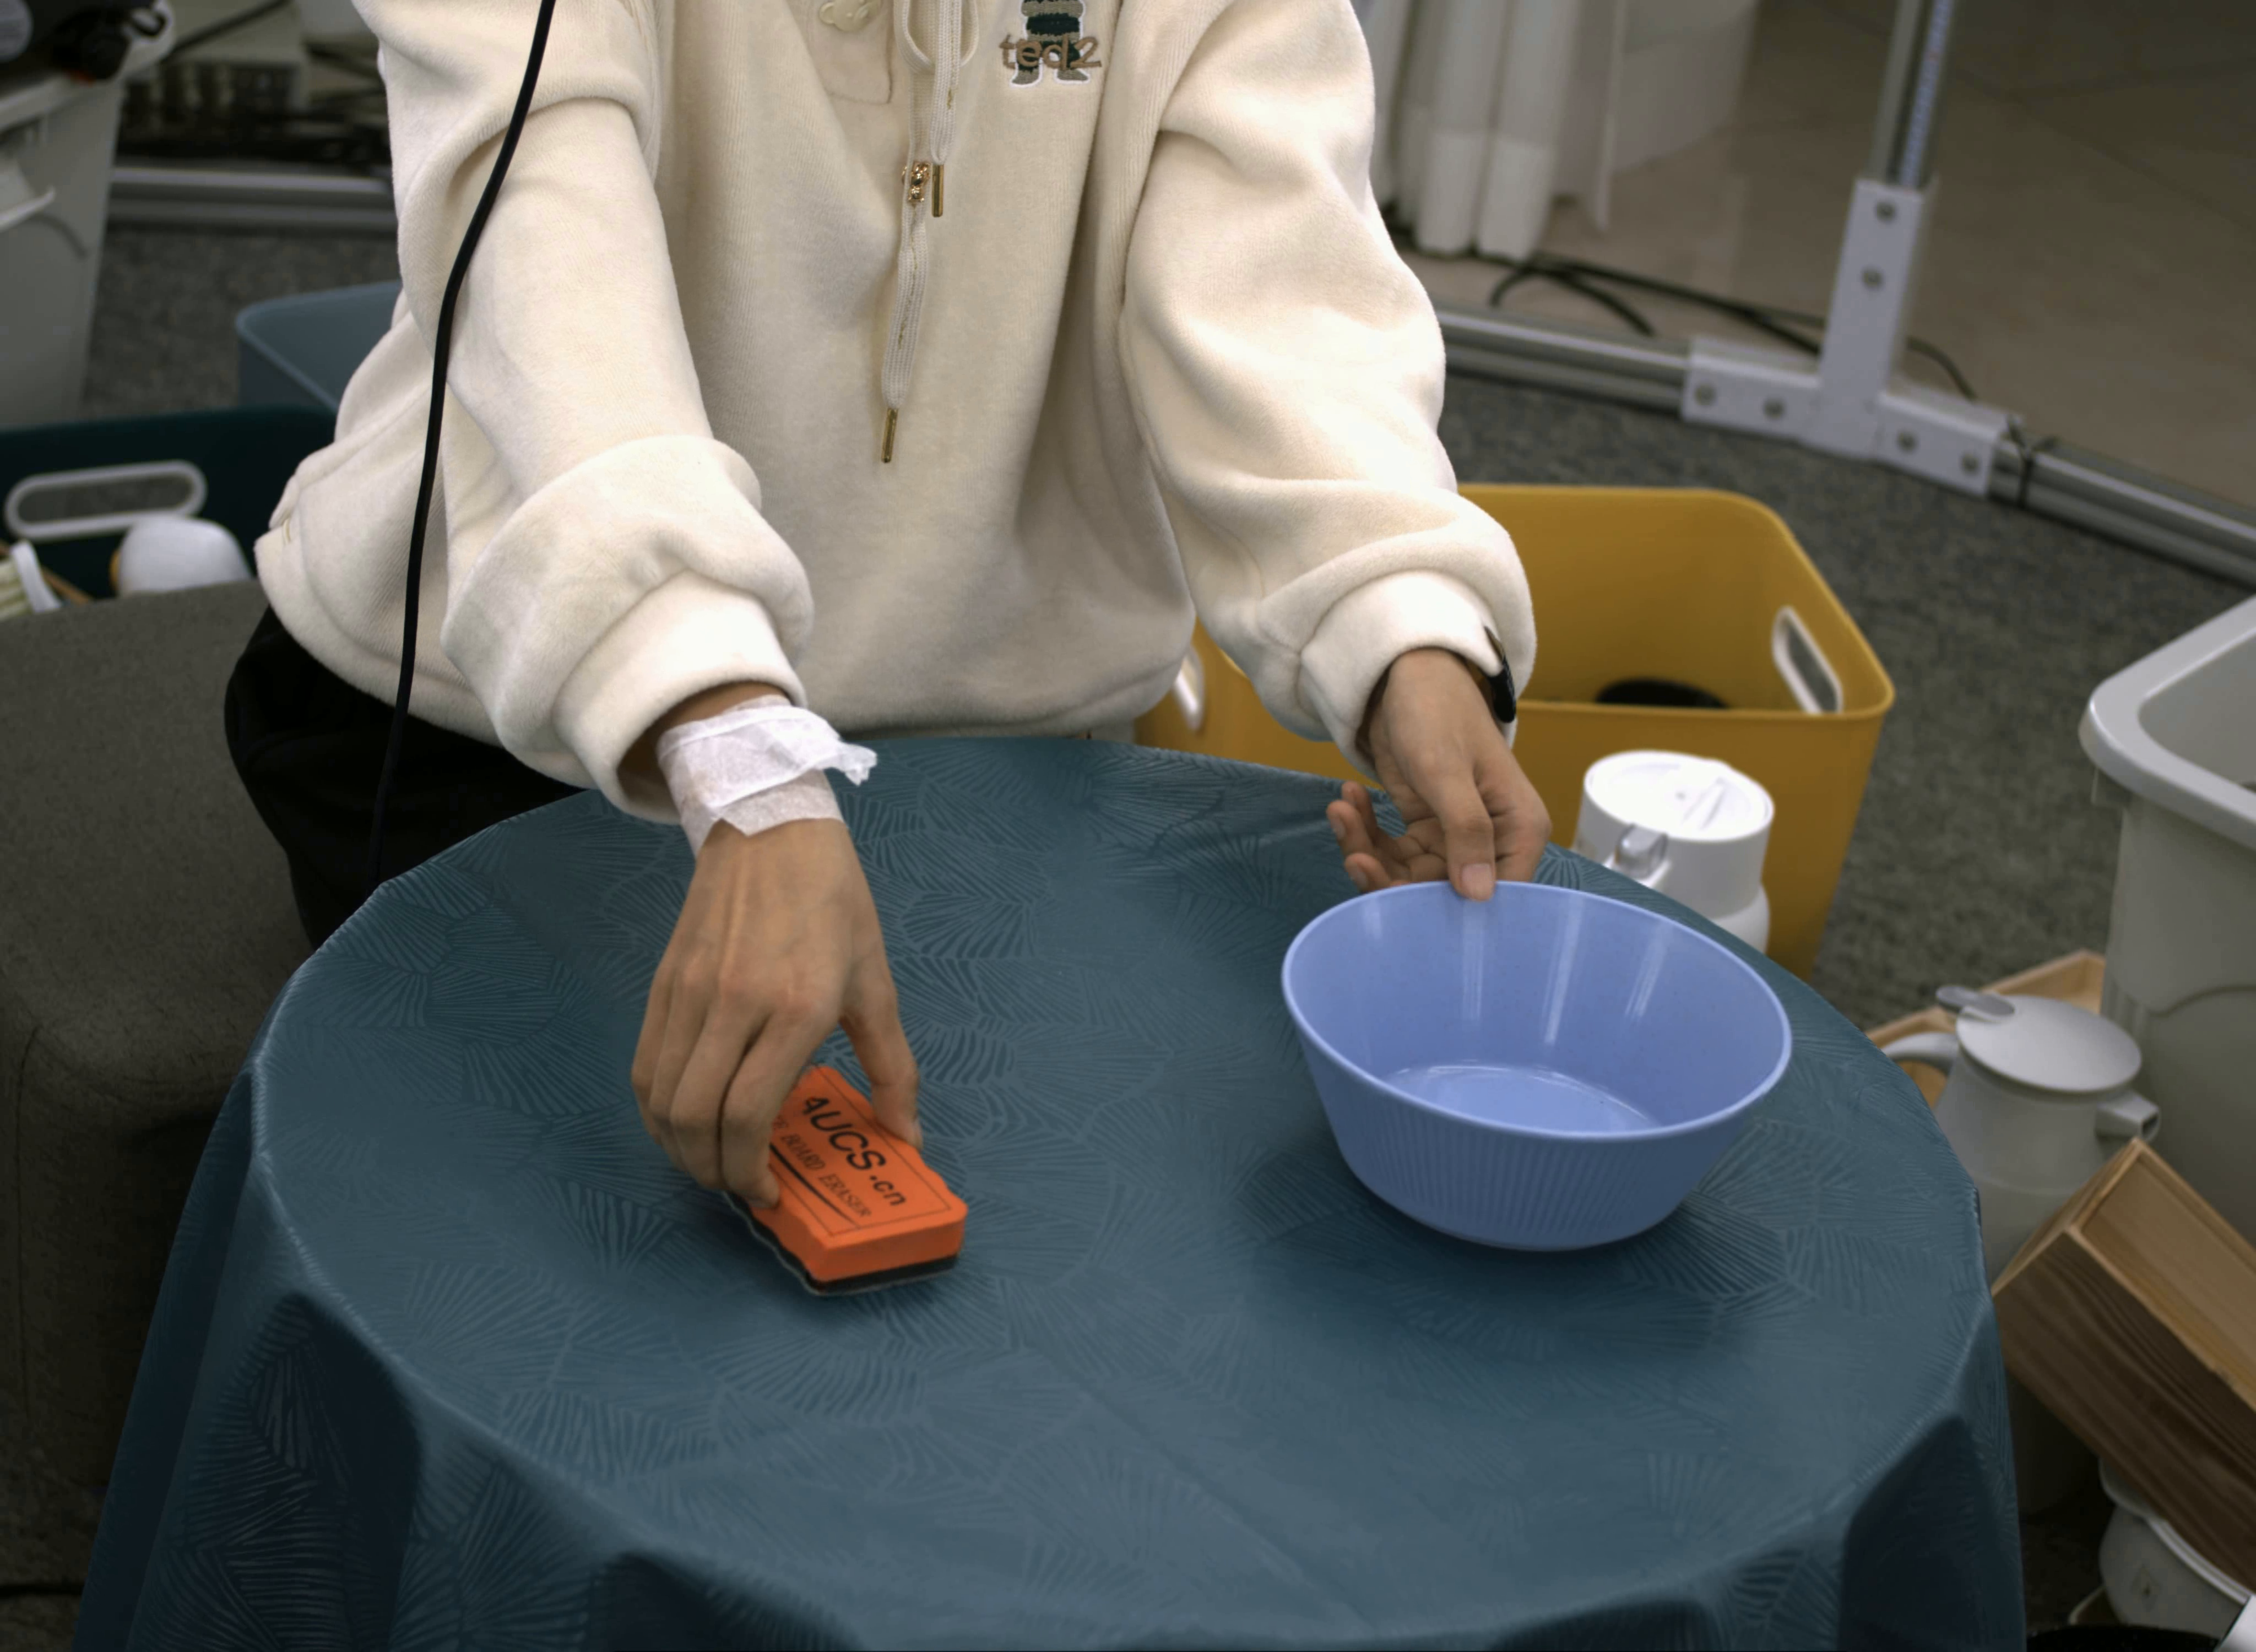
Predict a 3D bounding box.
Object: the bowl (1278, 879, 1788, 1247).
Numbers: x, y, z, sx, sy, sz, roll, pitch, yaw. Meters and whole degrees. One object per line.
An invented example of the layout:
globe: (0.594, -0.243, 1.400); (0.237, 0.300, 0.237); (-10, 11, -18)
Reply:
bowl: (0.134, 0.087, 1.825); (0.175, 0.070, 0.177); (5, 27, -3)

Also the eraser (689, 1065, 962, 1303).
eraser: (-0.101, 0.118, 1.766); (0.058, 0.023, 0.109); (-10, 31, -26)
